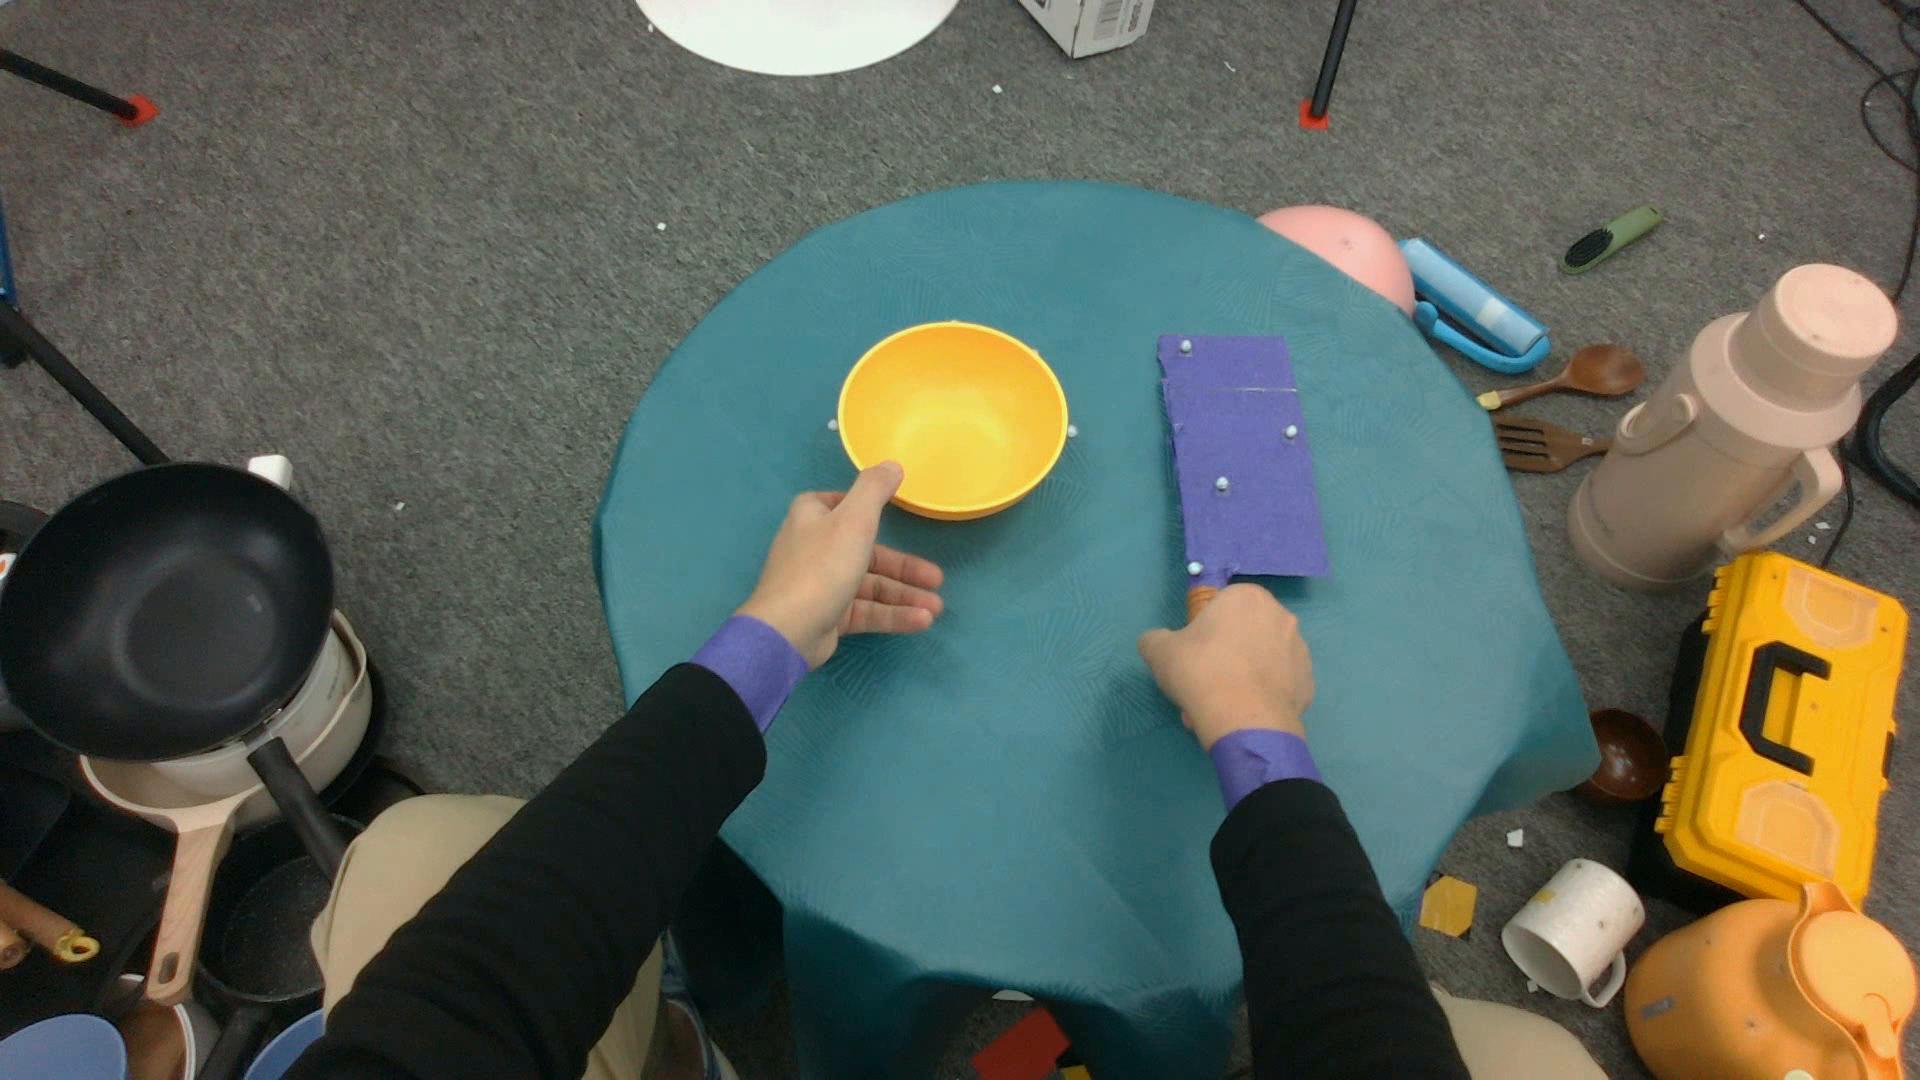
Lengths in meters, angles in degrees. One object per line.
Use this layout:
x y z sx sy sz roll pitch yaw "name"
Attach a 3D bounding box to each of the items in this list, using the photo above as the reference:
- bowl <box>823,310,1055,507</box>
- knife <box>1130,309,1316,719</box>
-0.013 -0.074 0.883 0.145 0.060 0.146 1 60 -1 "bowl"
0.176 -0.033 0.879 0.104 0.032 0.316 0 56 -3 "knife"
